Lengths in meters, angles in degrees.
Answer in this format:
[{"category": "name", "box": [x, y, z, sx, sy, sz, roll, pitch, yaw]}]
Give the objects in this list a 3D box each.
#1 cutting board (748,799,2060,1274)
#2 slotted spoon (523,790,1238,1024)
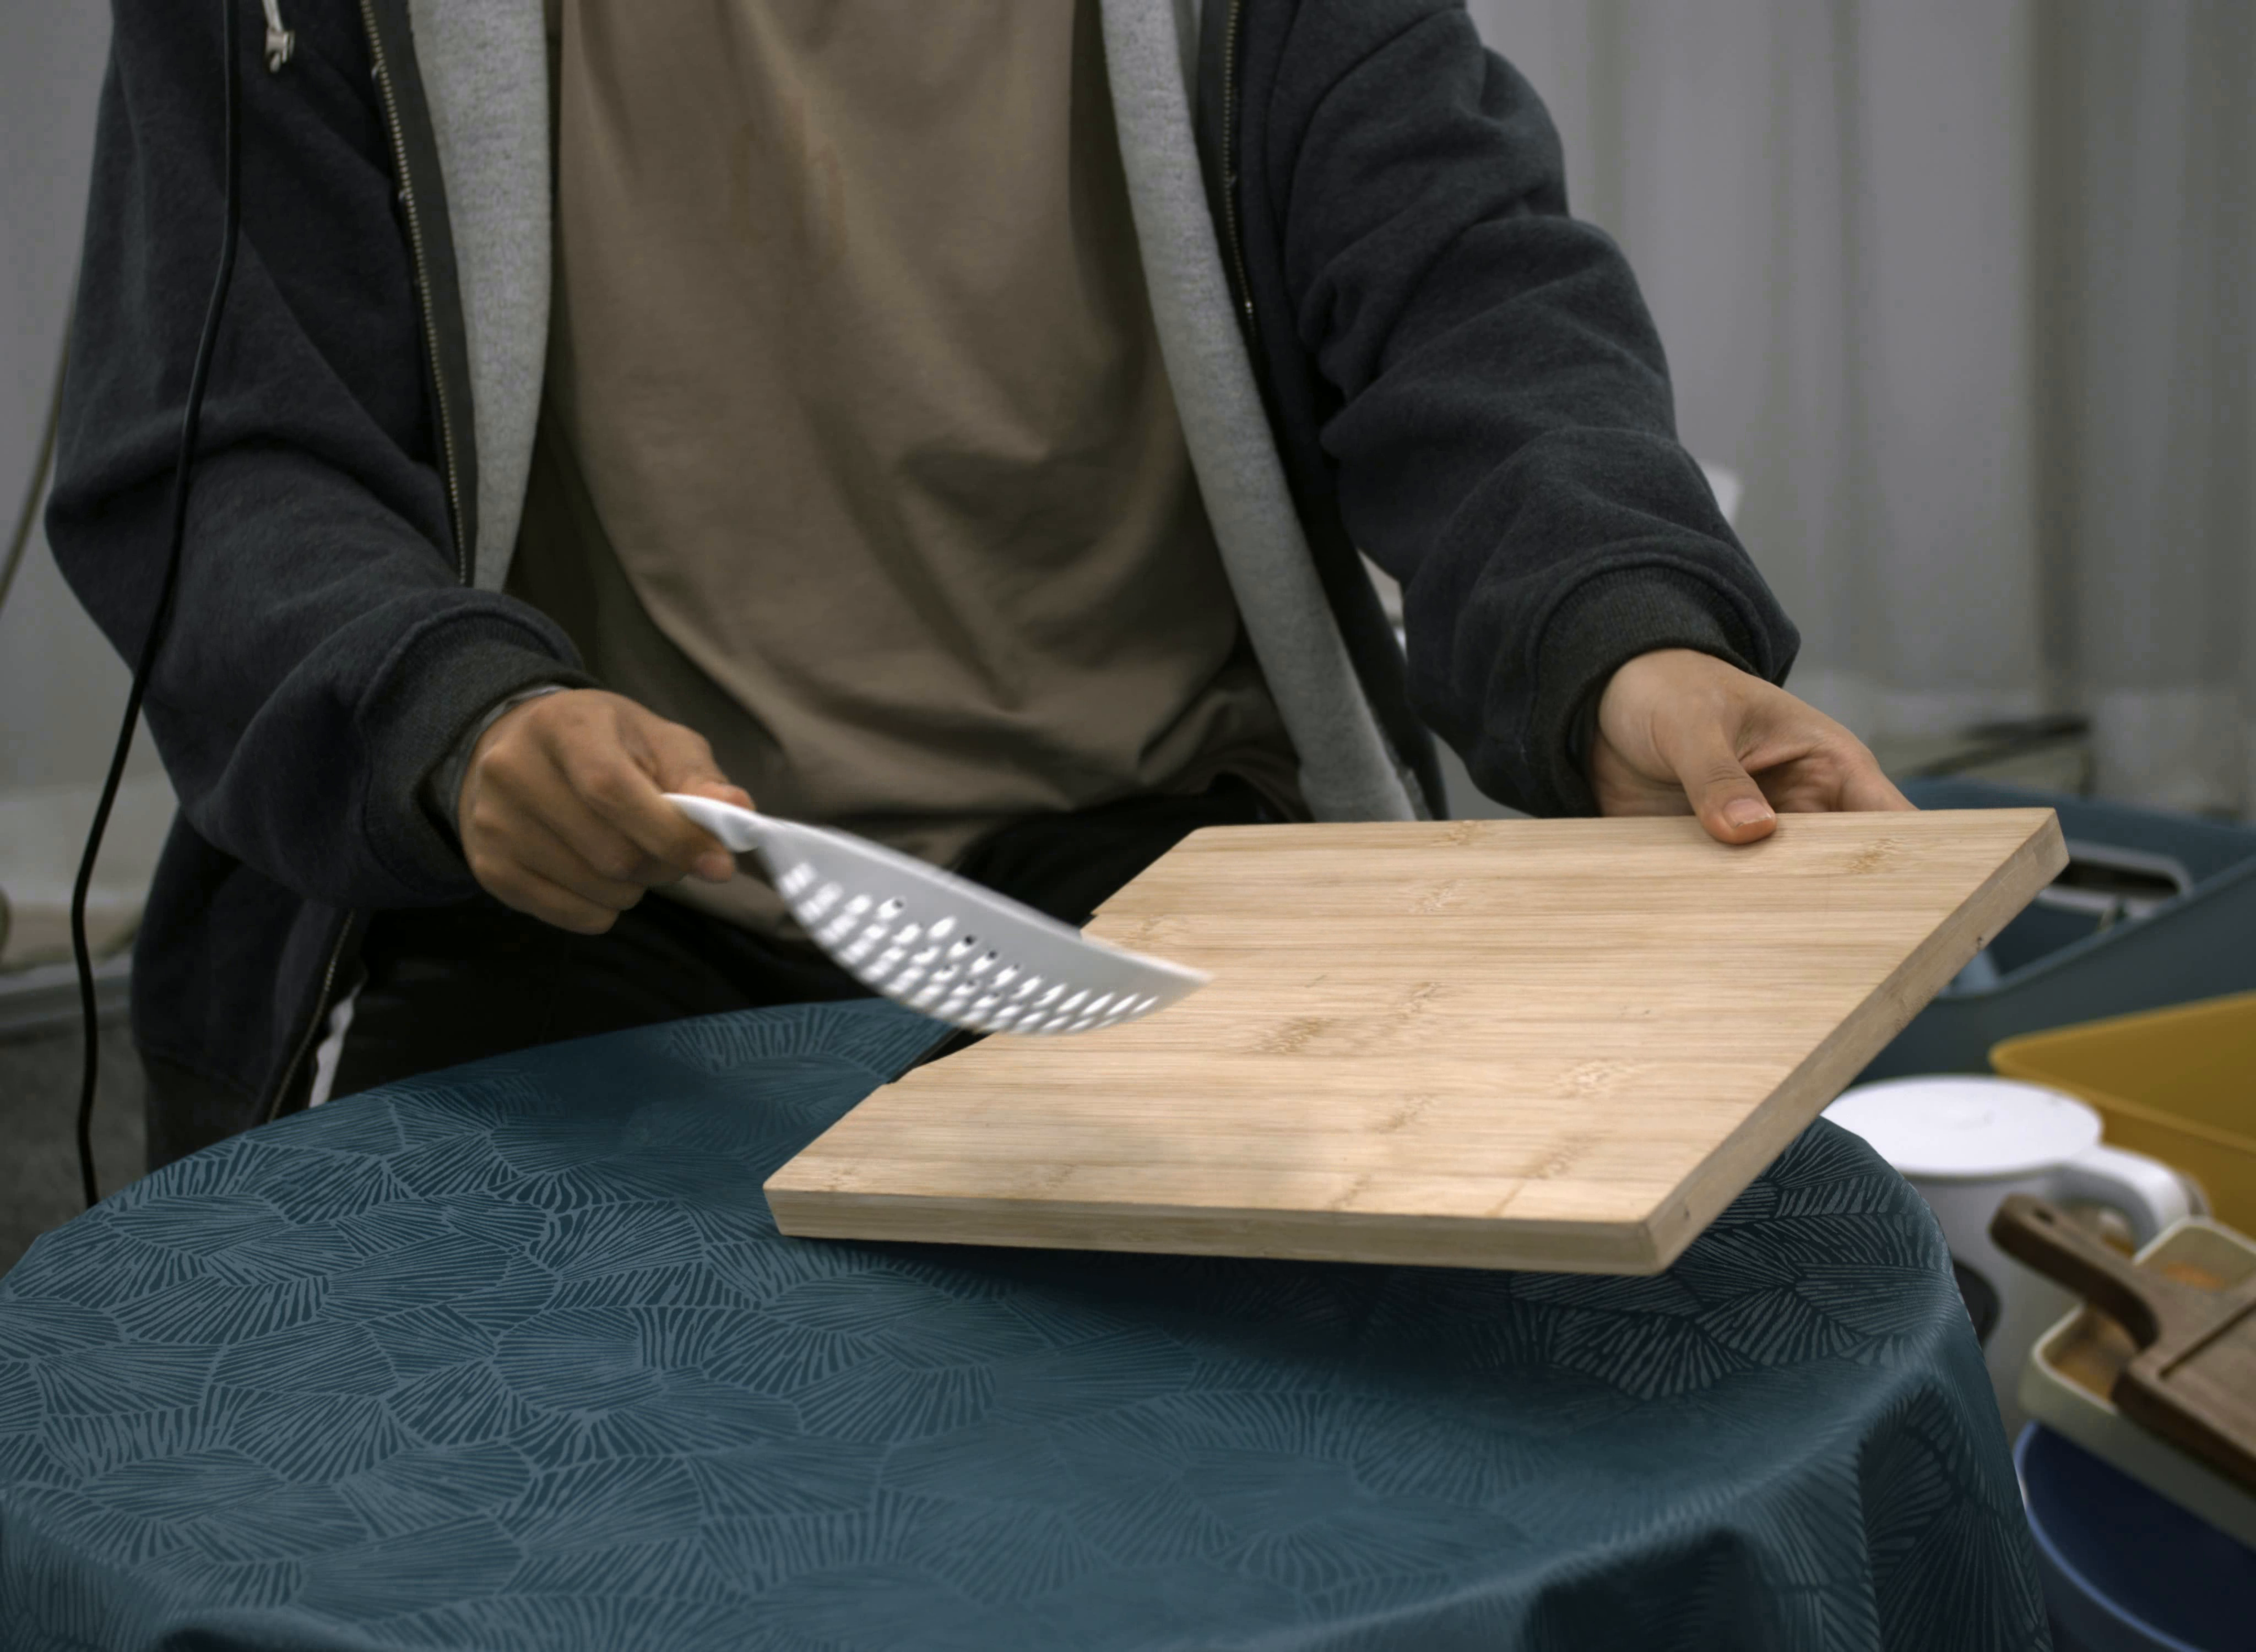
[{"category": "cutting board", "box": [0.080, 0.061, 1.662, 0.349, 0.023, 0.252, -2, 26, 41]}, {"category": "slotted spoon", "box": [-0.095, 0.014, 1.672, 0.135, 0.050, 0.350, 21, 0, -32]}]
